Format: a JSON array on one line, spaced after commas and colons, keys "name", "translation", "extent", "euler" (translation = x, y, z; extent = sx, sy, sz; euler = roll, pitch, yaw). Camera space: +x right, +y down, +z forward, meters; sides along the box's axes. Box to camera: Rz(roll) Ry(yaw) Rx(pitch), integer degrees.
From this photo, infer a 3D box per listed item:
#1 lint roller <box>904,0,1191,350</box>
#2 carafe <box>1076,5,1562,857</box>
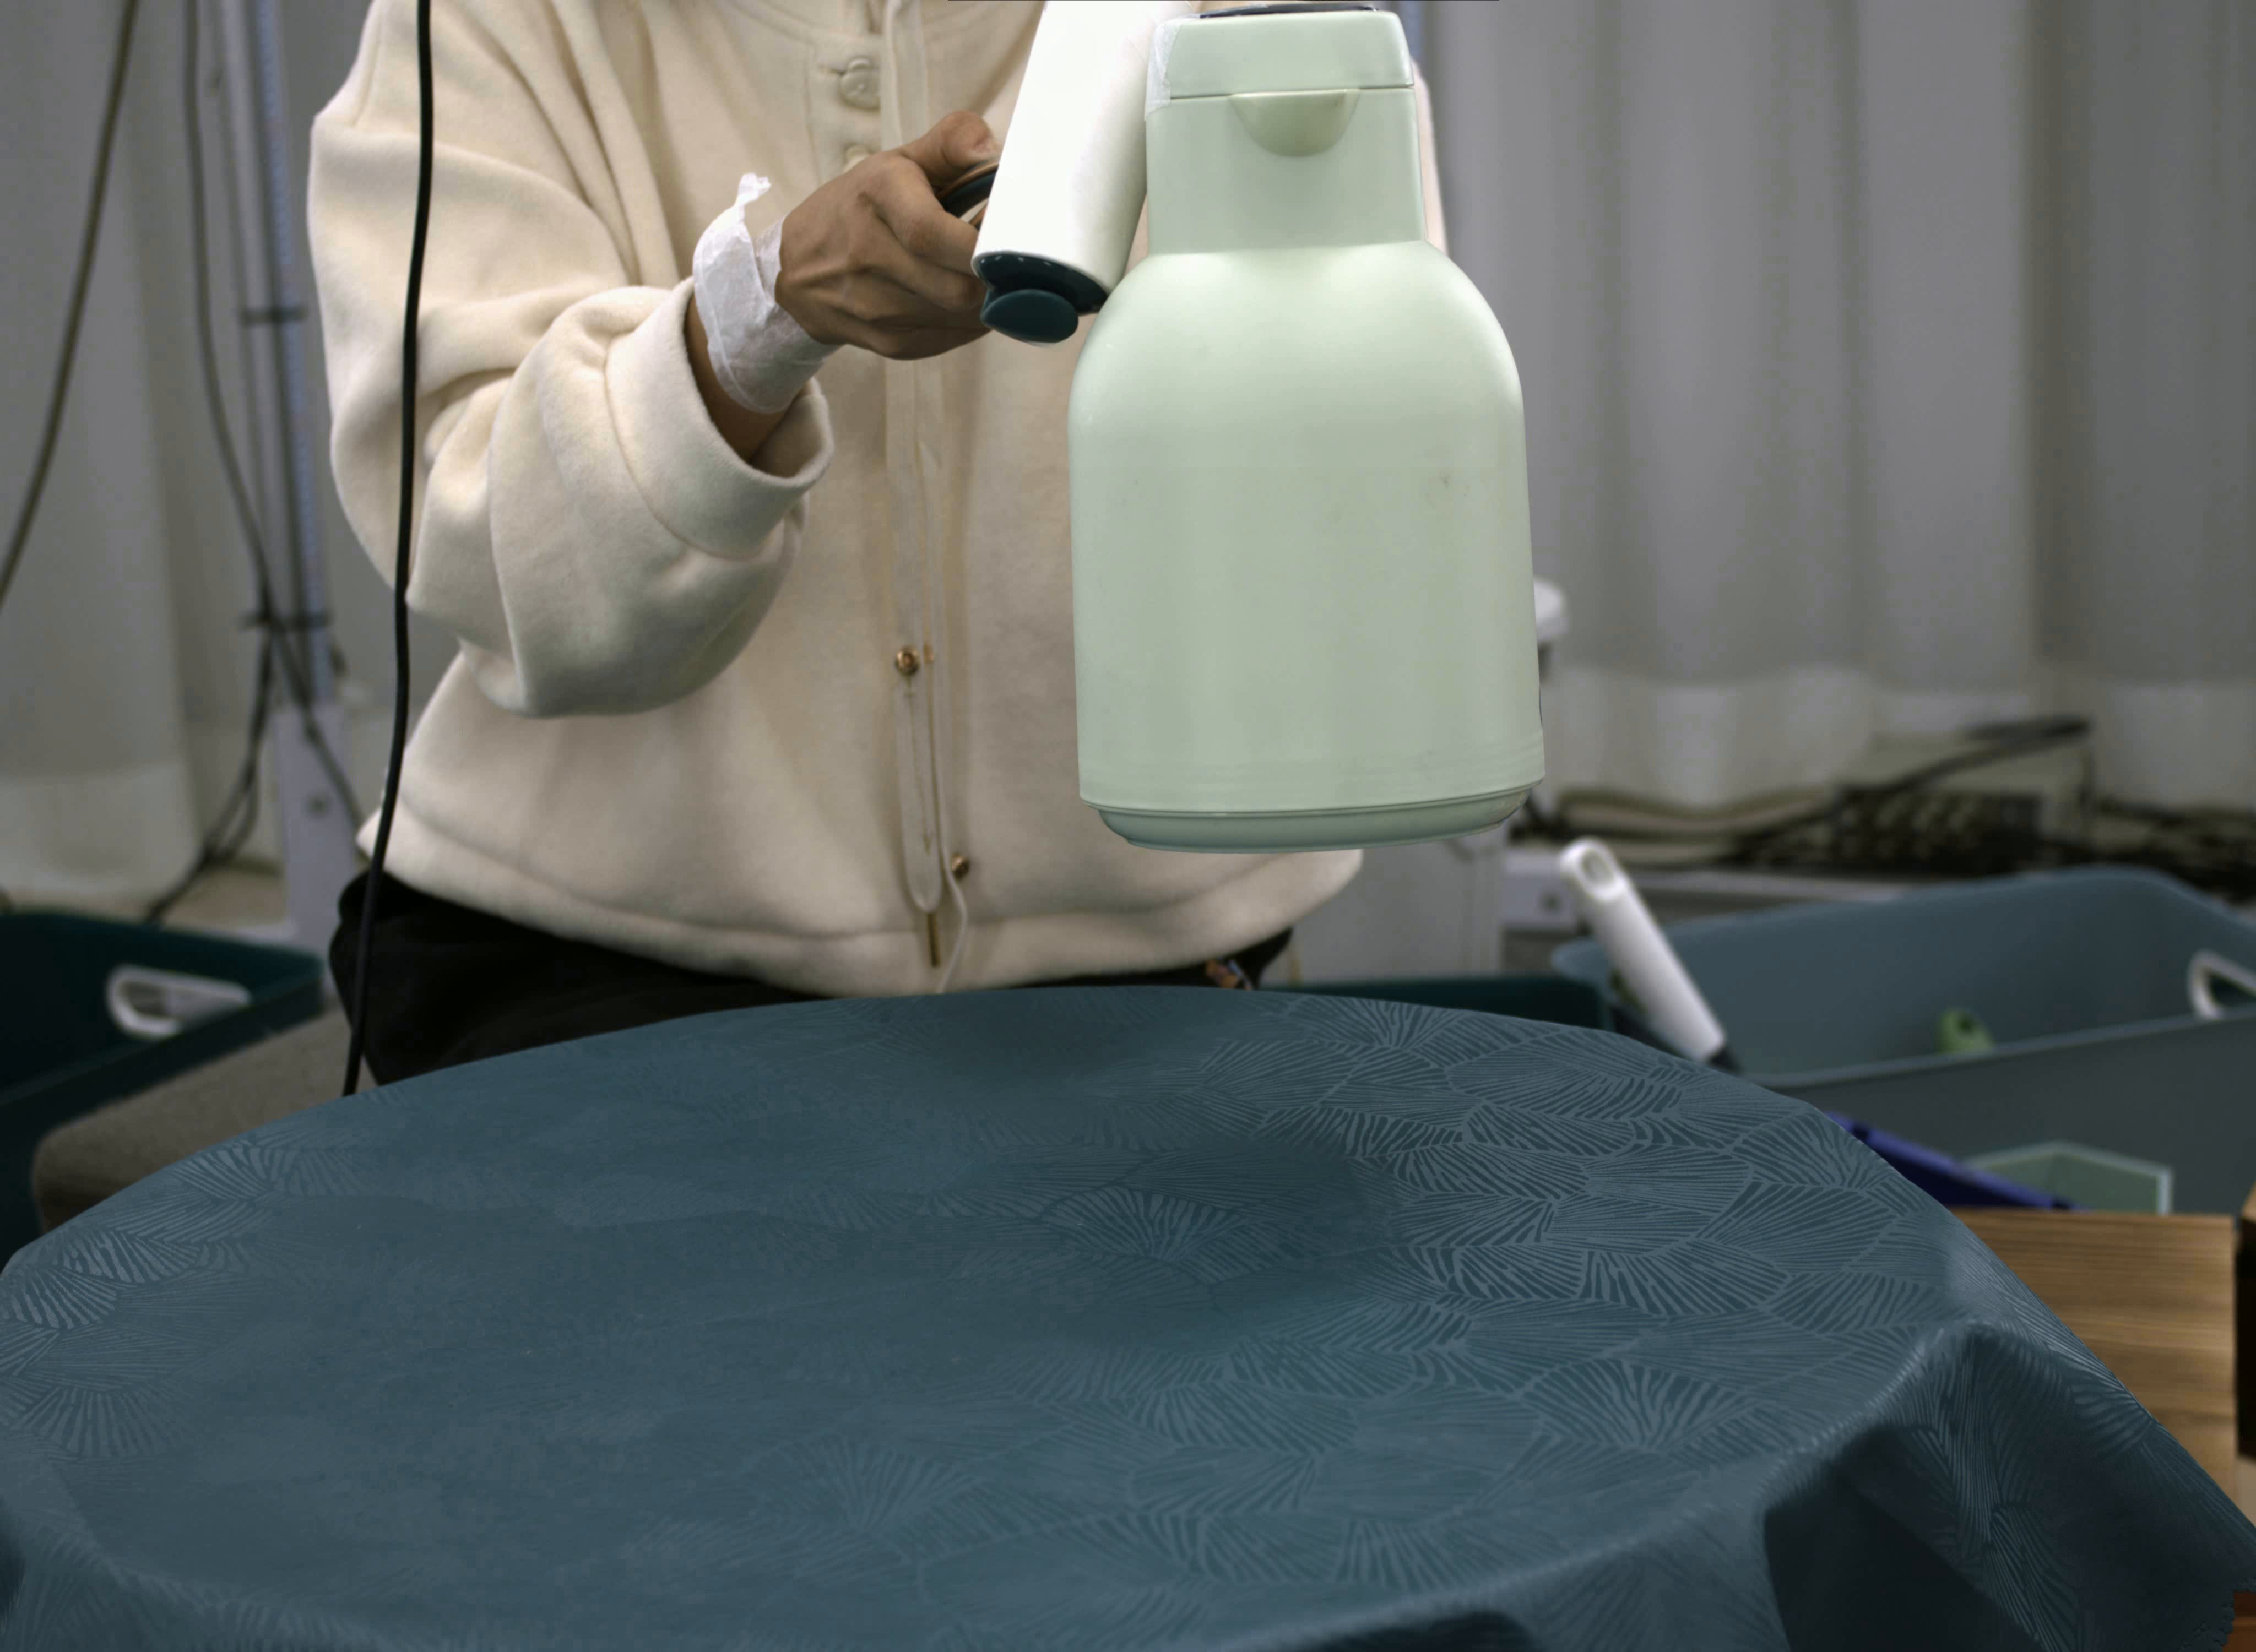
[{"name": "lint roller", "translation": [-0.047, -0.208, 1.780], "extent": [0.048, 0.135, 0.180], "euler": [24, -18, -25]}, {"name": "carafe", "translation": [0.053, -0.124, 1.703], "extent": [0.144, 0.257, 0.187], "euler": [-5, 2, -4]}]
